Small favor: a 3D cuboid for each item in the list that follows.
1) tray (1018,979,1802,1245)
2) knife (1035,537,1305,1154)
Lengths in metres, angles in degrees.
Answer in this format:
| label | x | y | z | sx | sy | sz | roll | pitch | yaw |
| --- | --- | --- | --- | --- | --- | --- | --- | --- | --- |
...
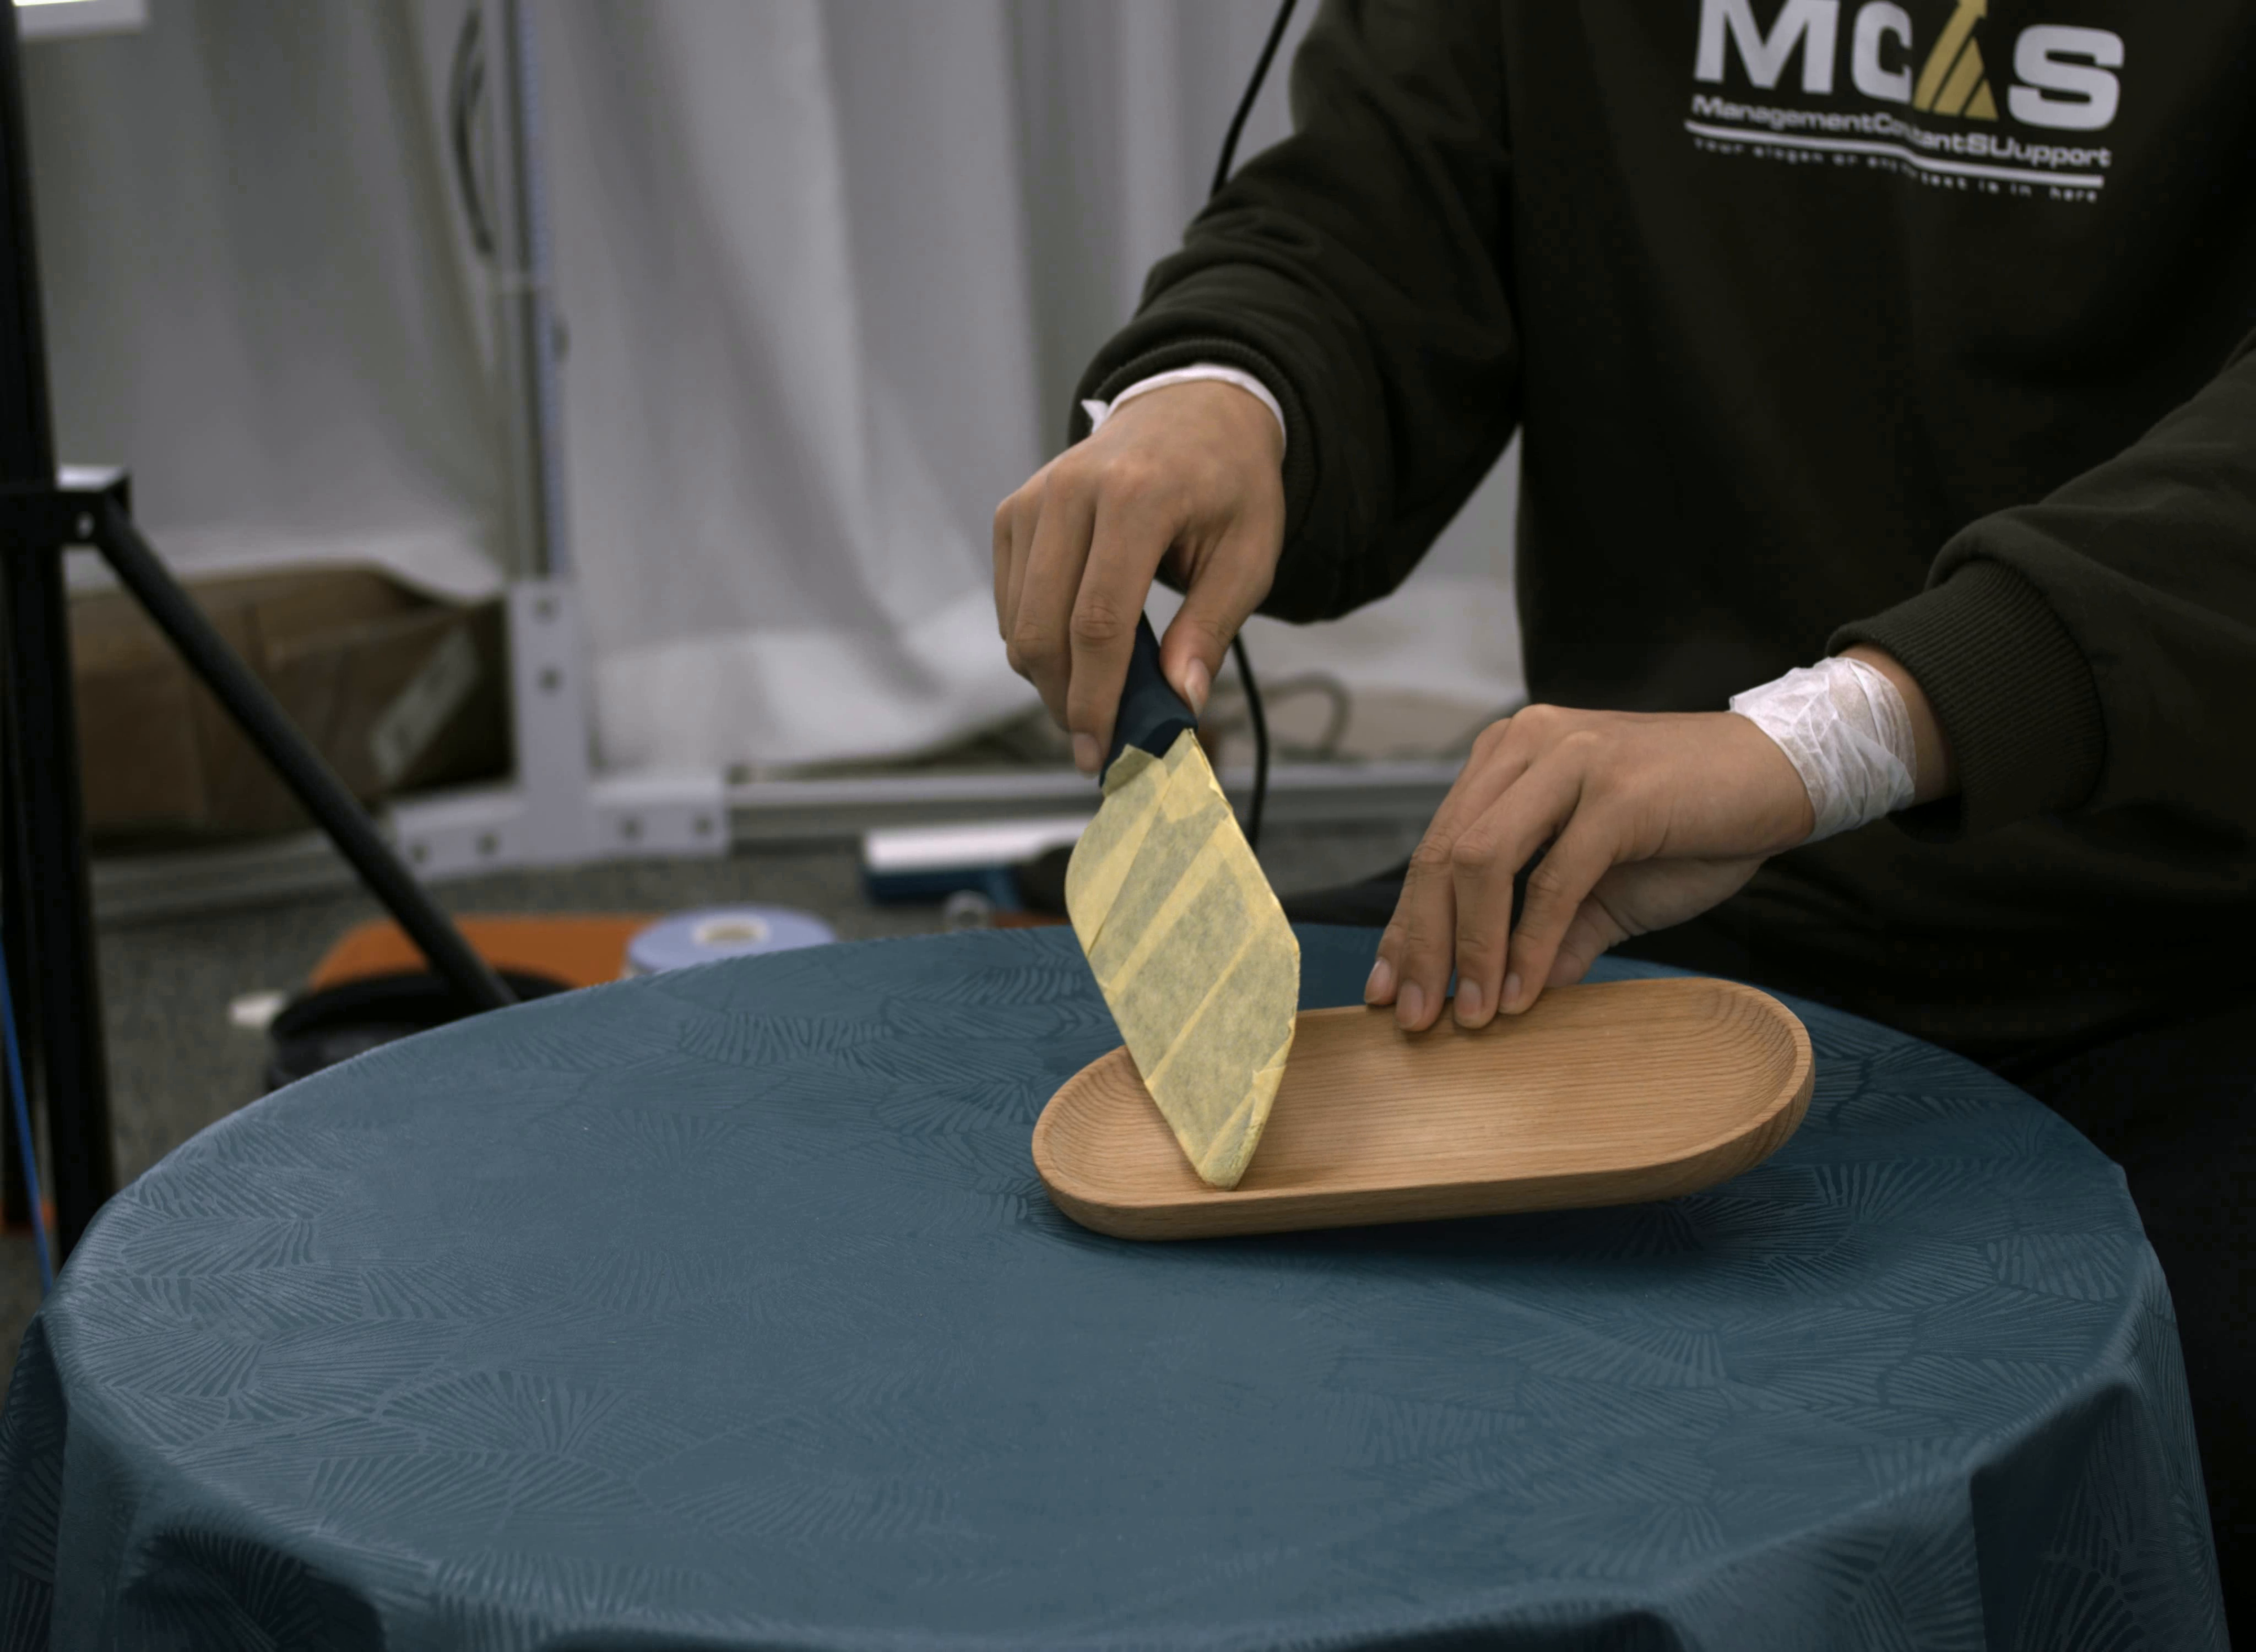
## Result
| label | x | y | z | sx | sy | sz | roll | pitch | yaw |
| --- | --- | --- | --- | --- | --- | --- | --- | --- | --- |
| tray | 0.081 | 0.084 | 1.532 | 0.233 | 0.020 | 0.101 | -7 | 27 | 18 |
| knife | 0.005 | 0.002 | 1.623 | 0.026 | 0.081 | 0.294 | 25 | 26 | -29 |
